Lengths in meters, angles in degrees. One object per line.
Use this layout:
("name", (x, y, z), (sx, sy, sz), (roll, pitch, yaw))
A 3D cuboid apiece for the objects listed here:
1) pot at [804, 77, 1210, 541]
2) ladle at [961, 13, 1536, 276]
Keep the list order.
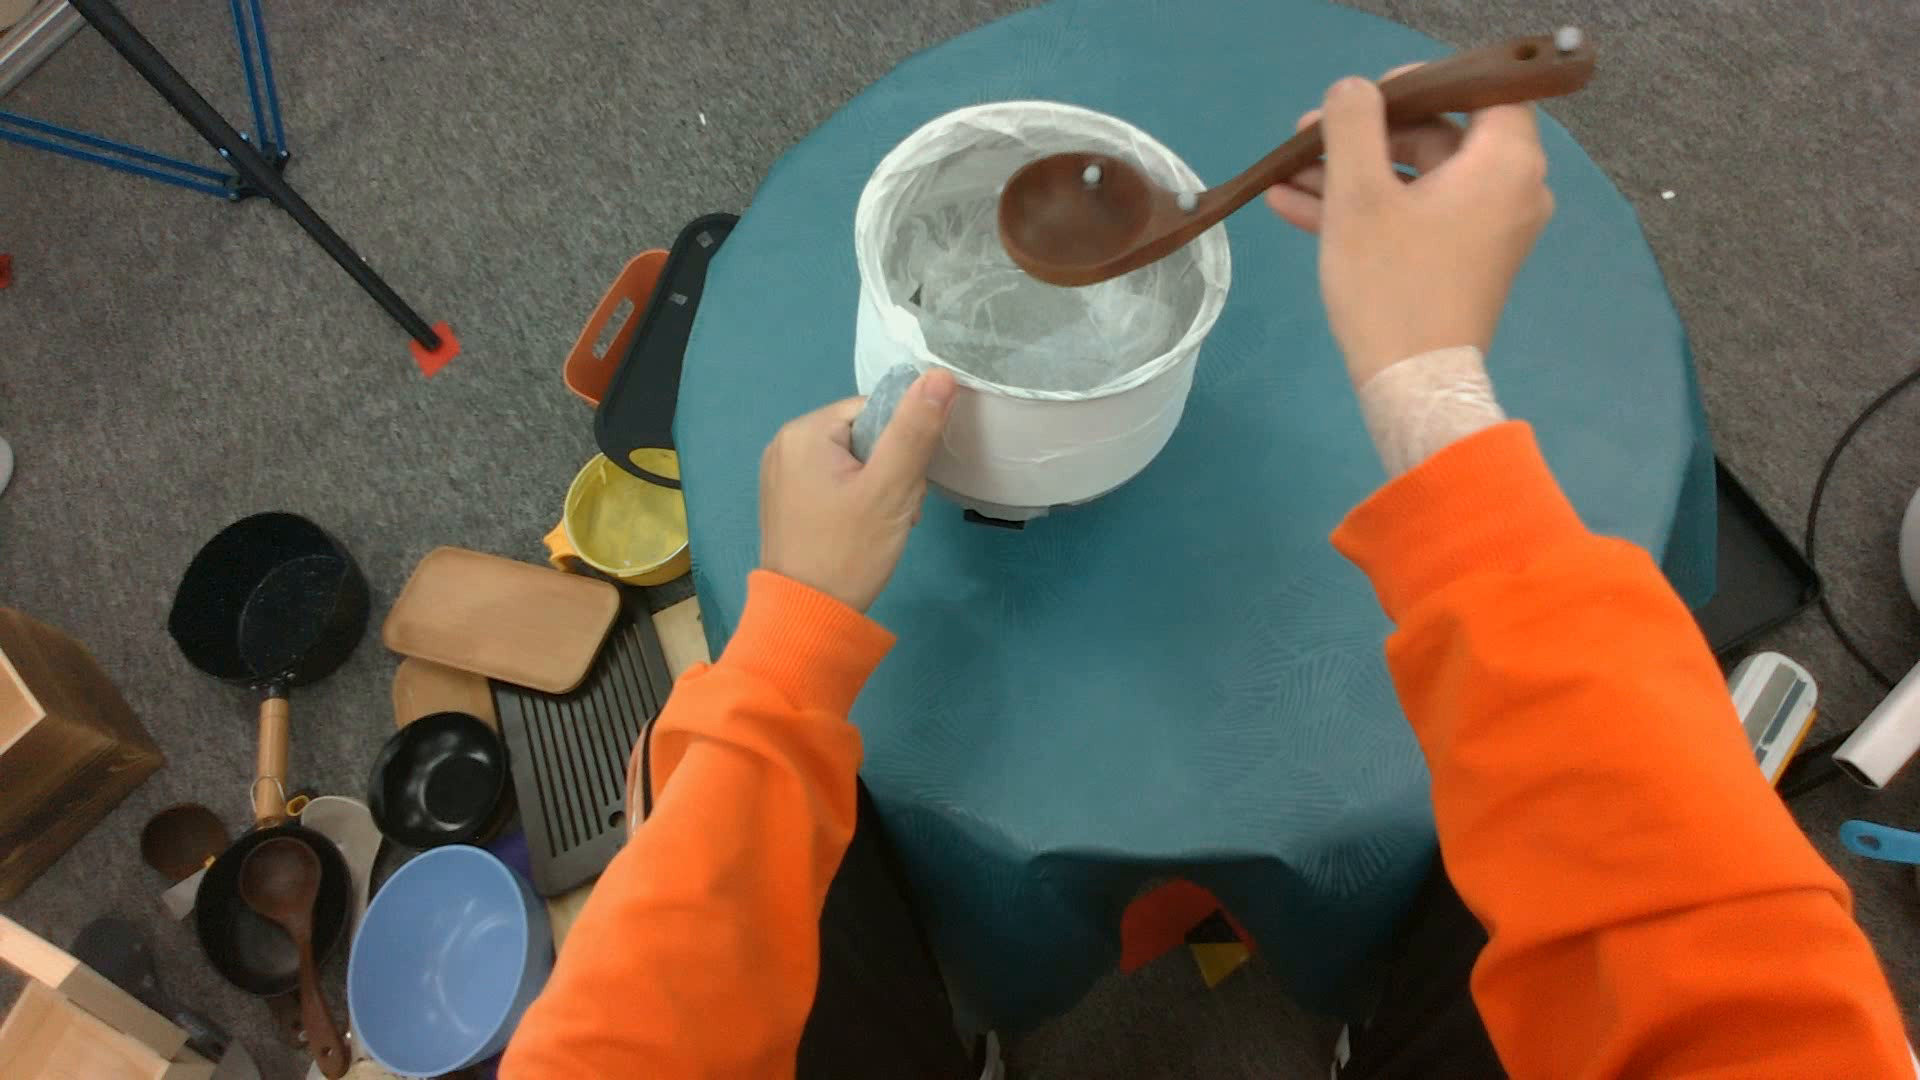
("pot", (0.009, -0.103, 0.686), (0.179, 0.136, 0.234), (34, 65, 13))
("ladle", (0.105, -0.174, 0.581), (0.259, 0.065, 0.077), (-15, 50, 46))
